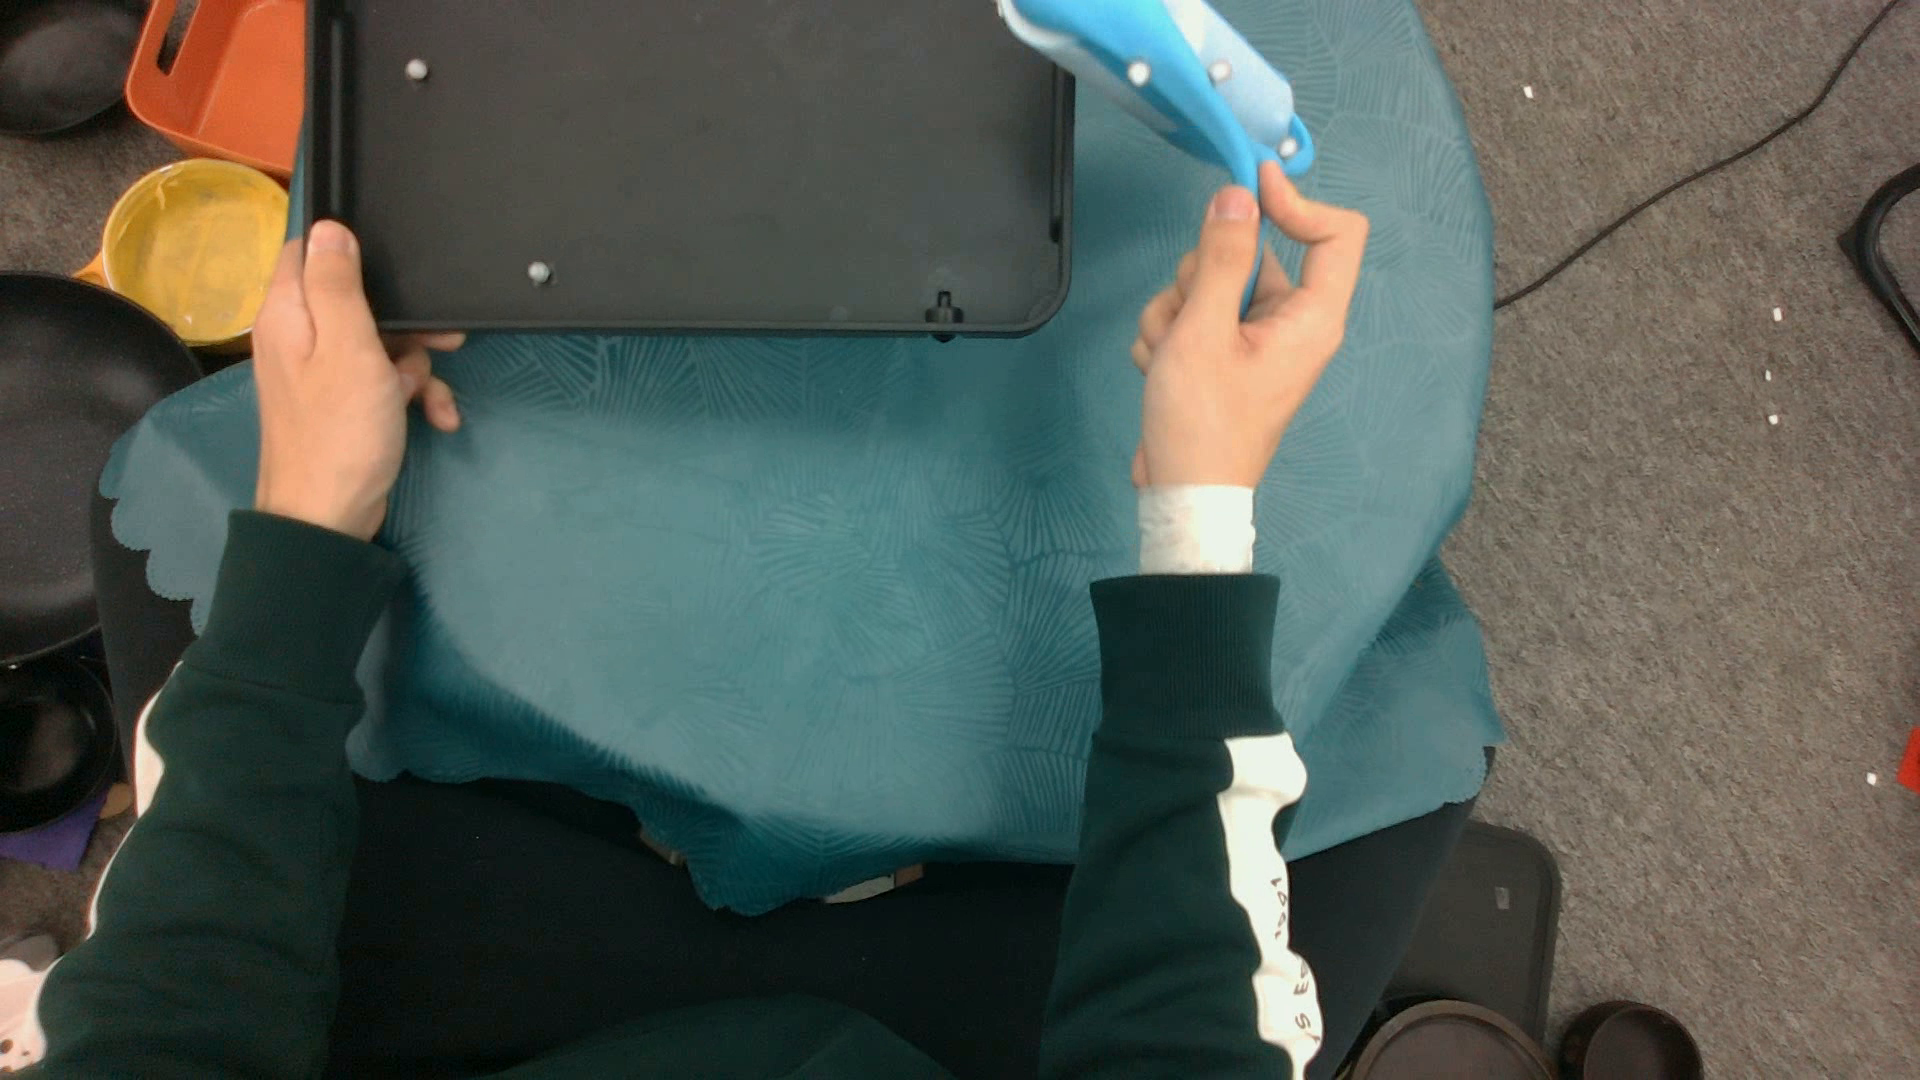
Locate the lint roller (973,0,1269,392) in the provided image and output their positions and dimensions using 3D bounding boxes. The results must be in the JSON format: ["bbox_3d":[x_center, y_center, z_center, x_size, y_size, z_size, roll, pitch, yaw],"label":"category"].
[{"bbox_3d":[0.083,-0.156,0.575,0.068,0.229,0.180,-16,86,26],"label":"lint roller"}]

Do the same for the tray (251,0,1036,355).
[{"bbox_3d":[-0.130,-0.177,0.586,0.318,0.037,0.184,-3,91,-2],"label":"tray"}]
